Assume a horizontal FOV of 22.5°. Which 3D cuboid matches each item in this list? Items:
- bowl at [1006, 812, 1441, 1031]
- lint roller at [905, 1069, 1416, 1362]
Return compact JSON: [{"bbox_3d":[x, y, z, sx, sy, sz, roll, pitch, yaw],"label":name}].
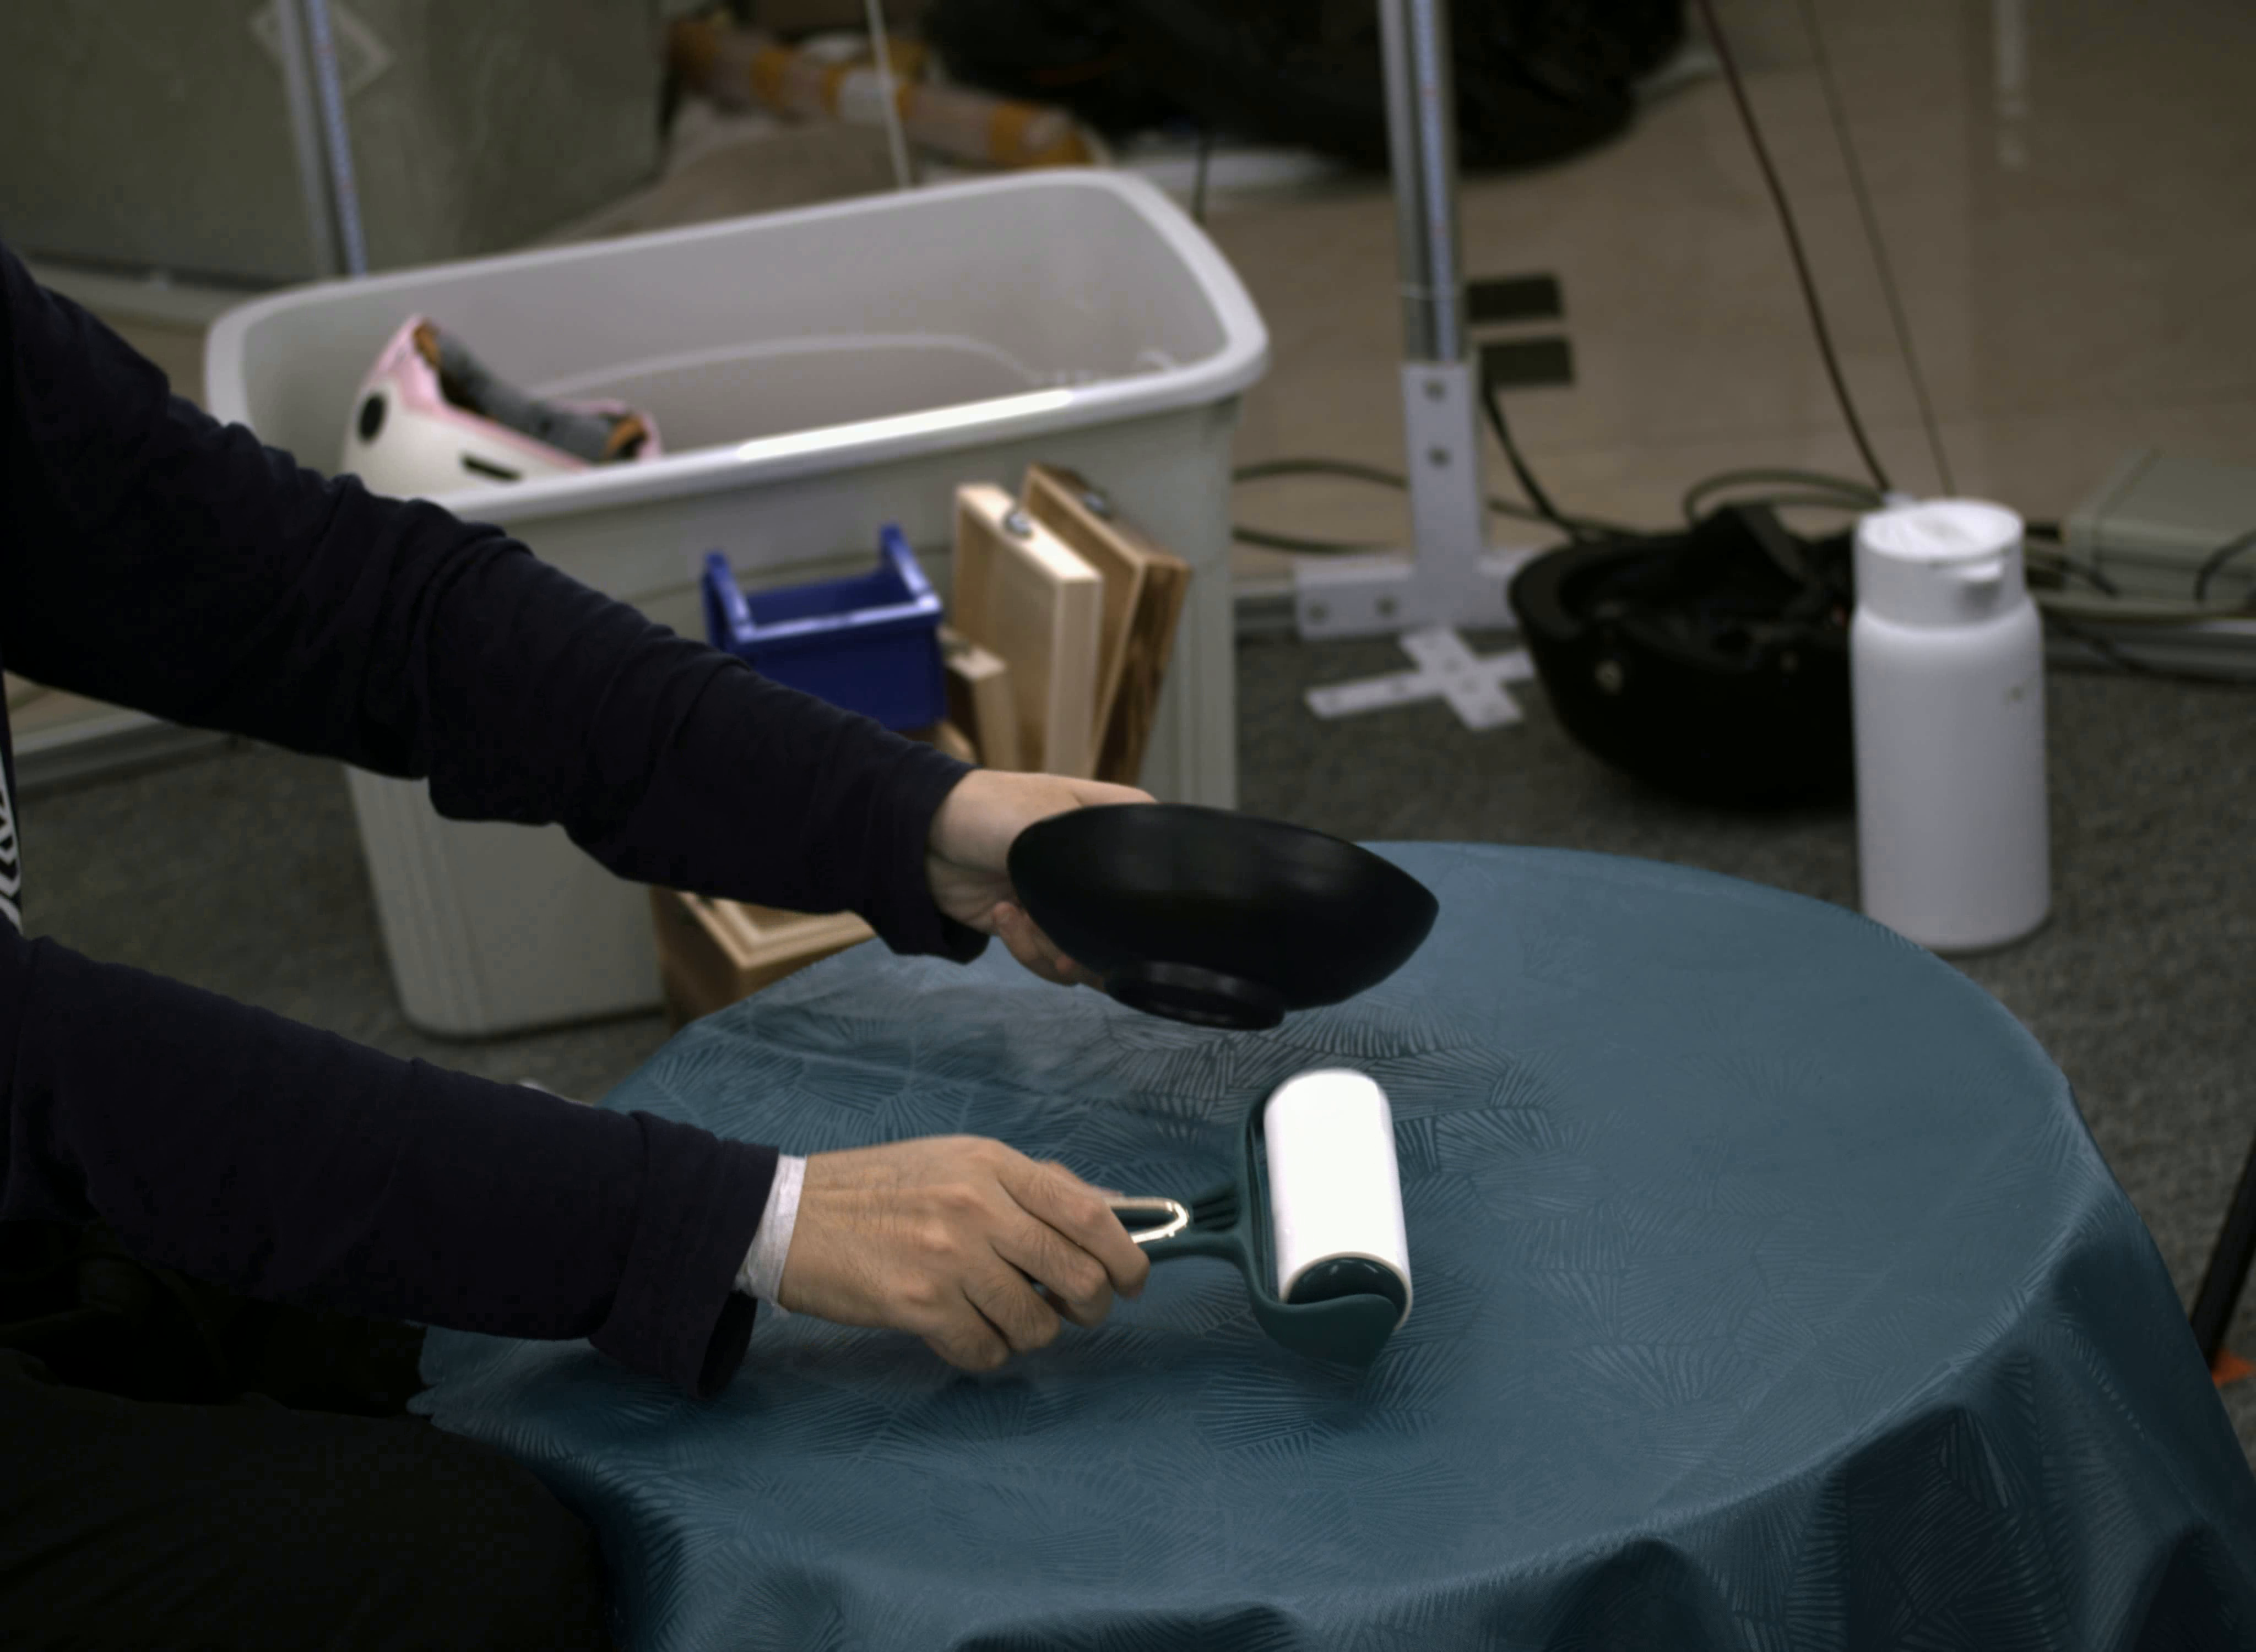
[{"bbox_3d":[0.033,0.041,2.182,0.170,0.066,0.138,7,-13,10],"label":"bowl"},{"bbox_3d":[0.009,0.144,2.028,0.180,0.049,0.132,-4,35,-1],"label":"lint roller"}]
